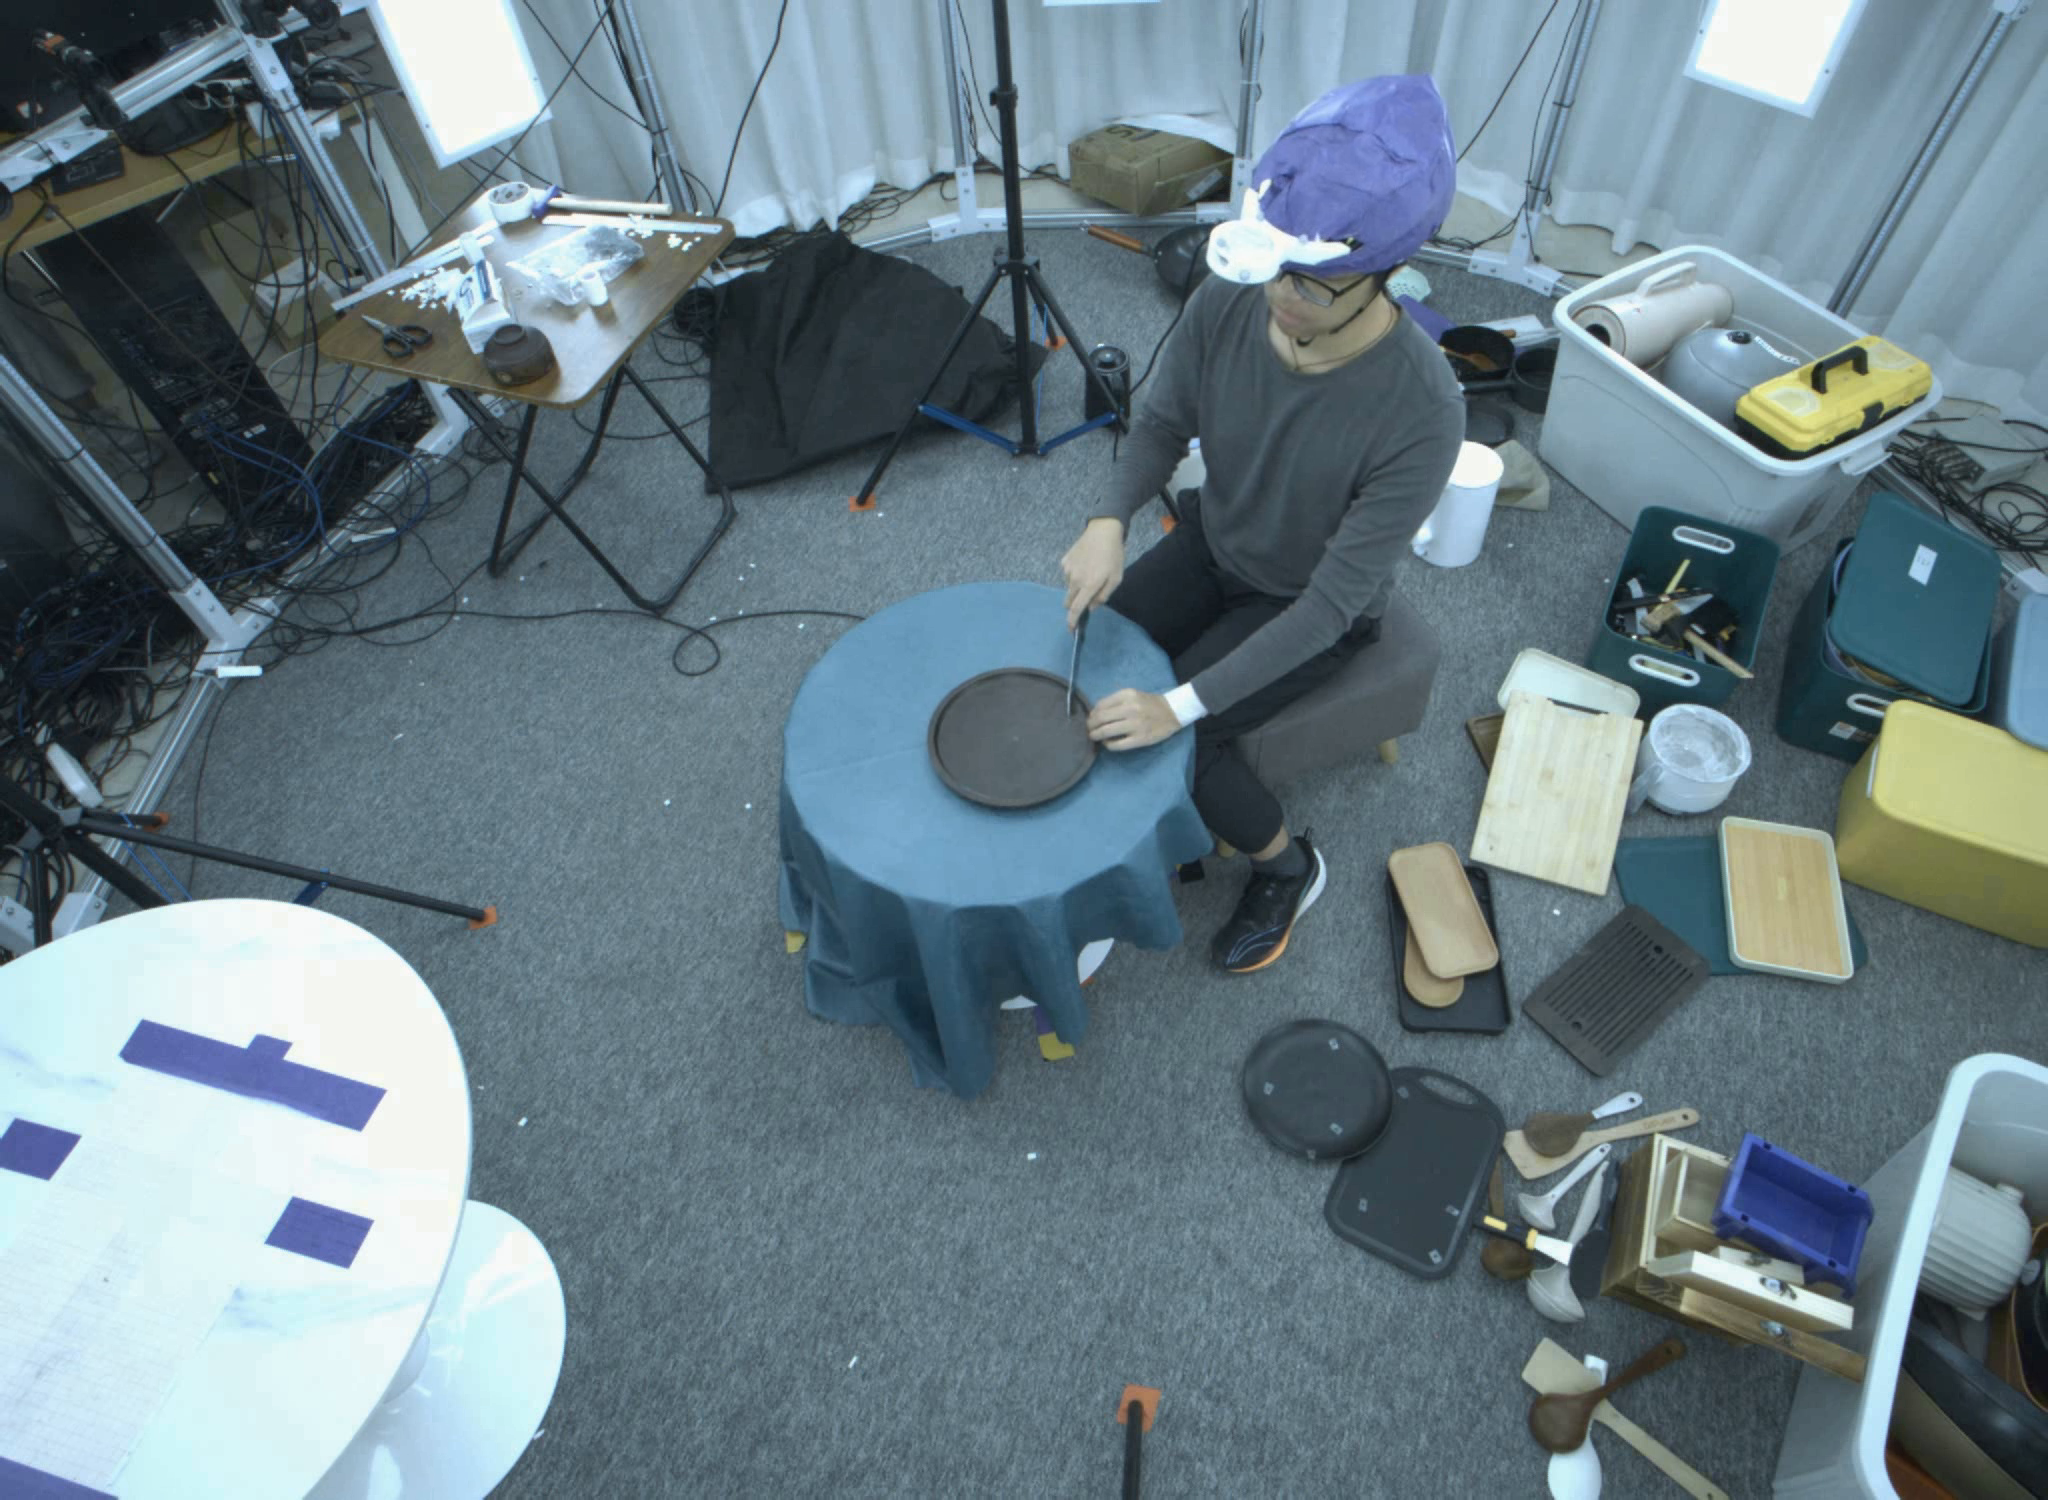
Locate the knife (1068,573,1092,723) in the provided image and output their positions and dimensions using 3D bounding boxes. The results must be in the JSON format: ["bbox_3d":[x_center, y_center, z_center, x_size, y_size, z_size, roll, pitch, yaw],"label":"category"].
[{"bbox_3d":[0.080,-0.155,1.836,0.016,0.025,0.237,2,76,24],"label":"knife"}]

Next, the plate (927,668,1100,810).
[{"bbox_3d":[-0.015,-0.018,1.794,0.254,0.029,0.252,0,56,2],"label":"plate"}]
